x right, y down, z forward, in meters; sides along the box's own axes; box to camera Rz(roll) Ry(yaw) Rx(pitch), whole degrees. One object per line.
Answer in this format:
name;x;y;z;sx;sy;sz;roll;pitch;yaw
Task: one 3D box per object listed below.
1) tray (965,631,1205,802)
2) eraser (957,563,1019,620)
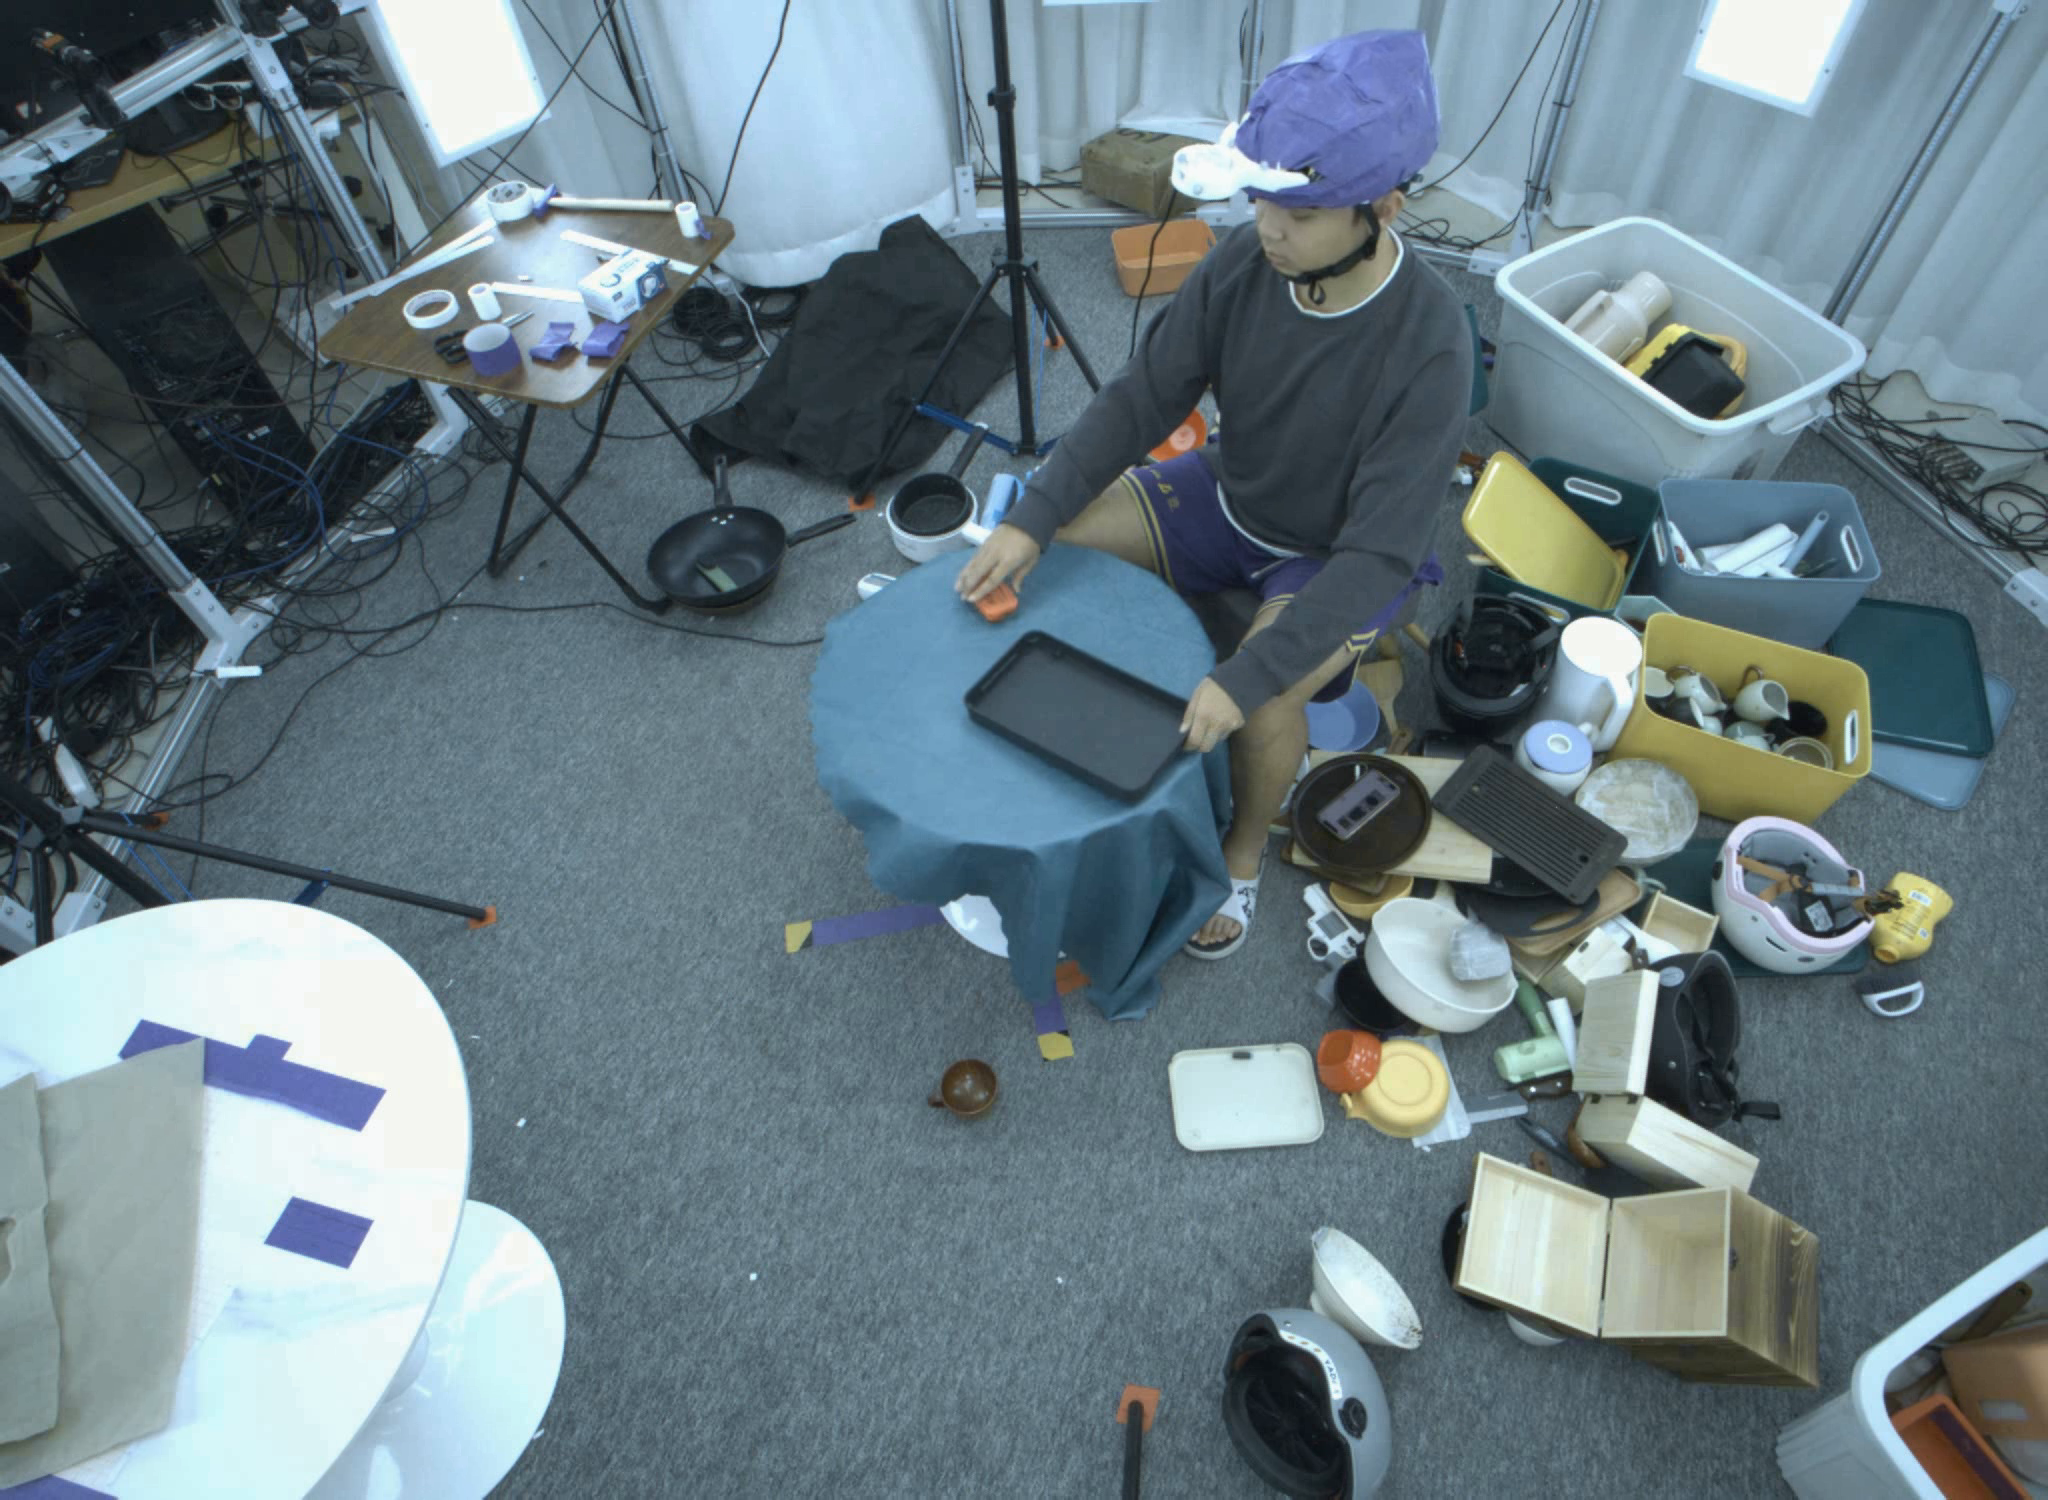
tray;0.087;-0.053;1.791;0.312;0.037;0.185;27;59;24
eraser;-0.059;-0.253;1.953;0.059;0.023;0.106;-24;55;-24
